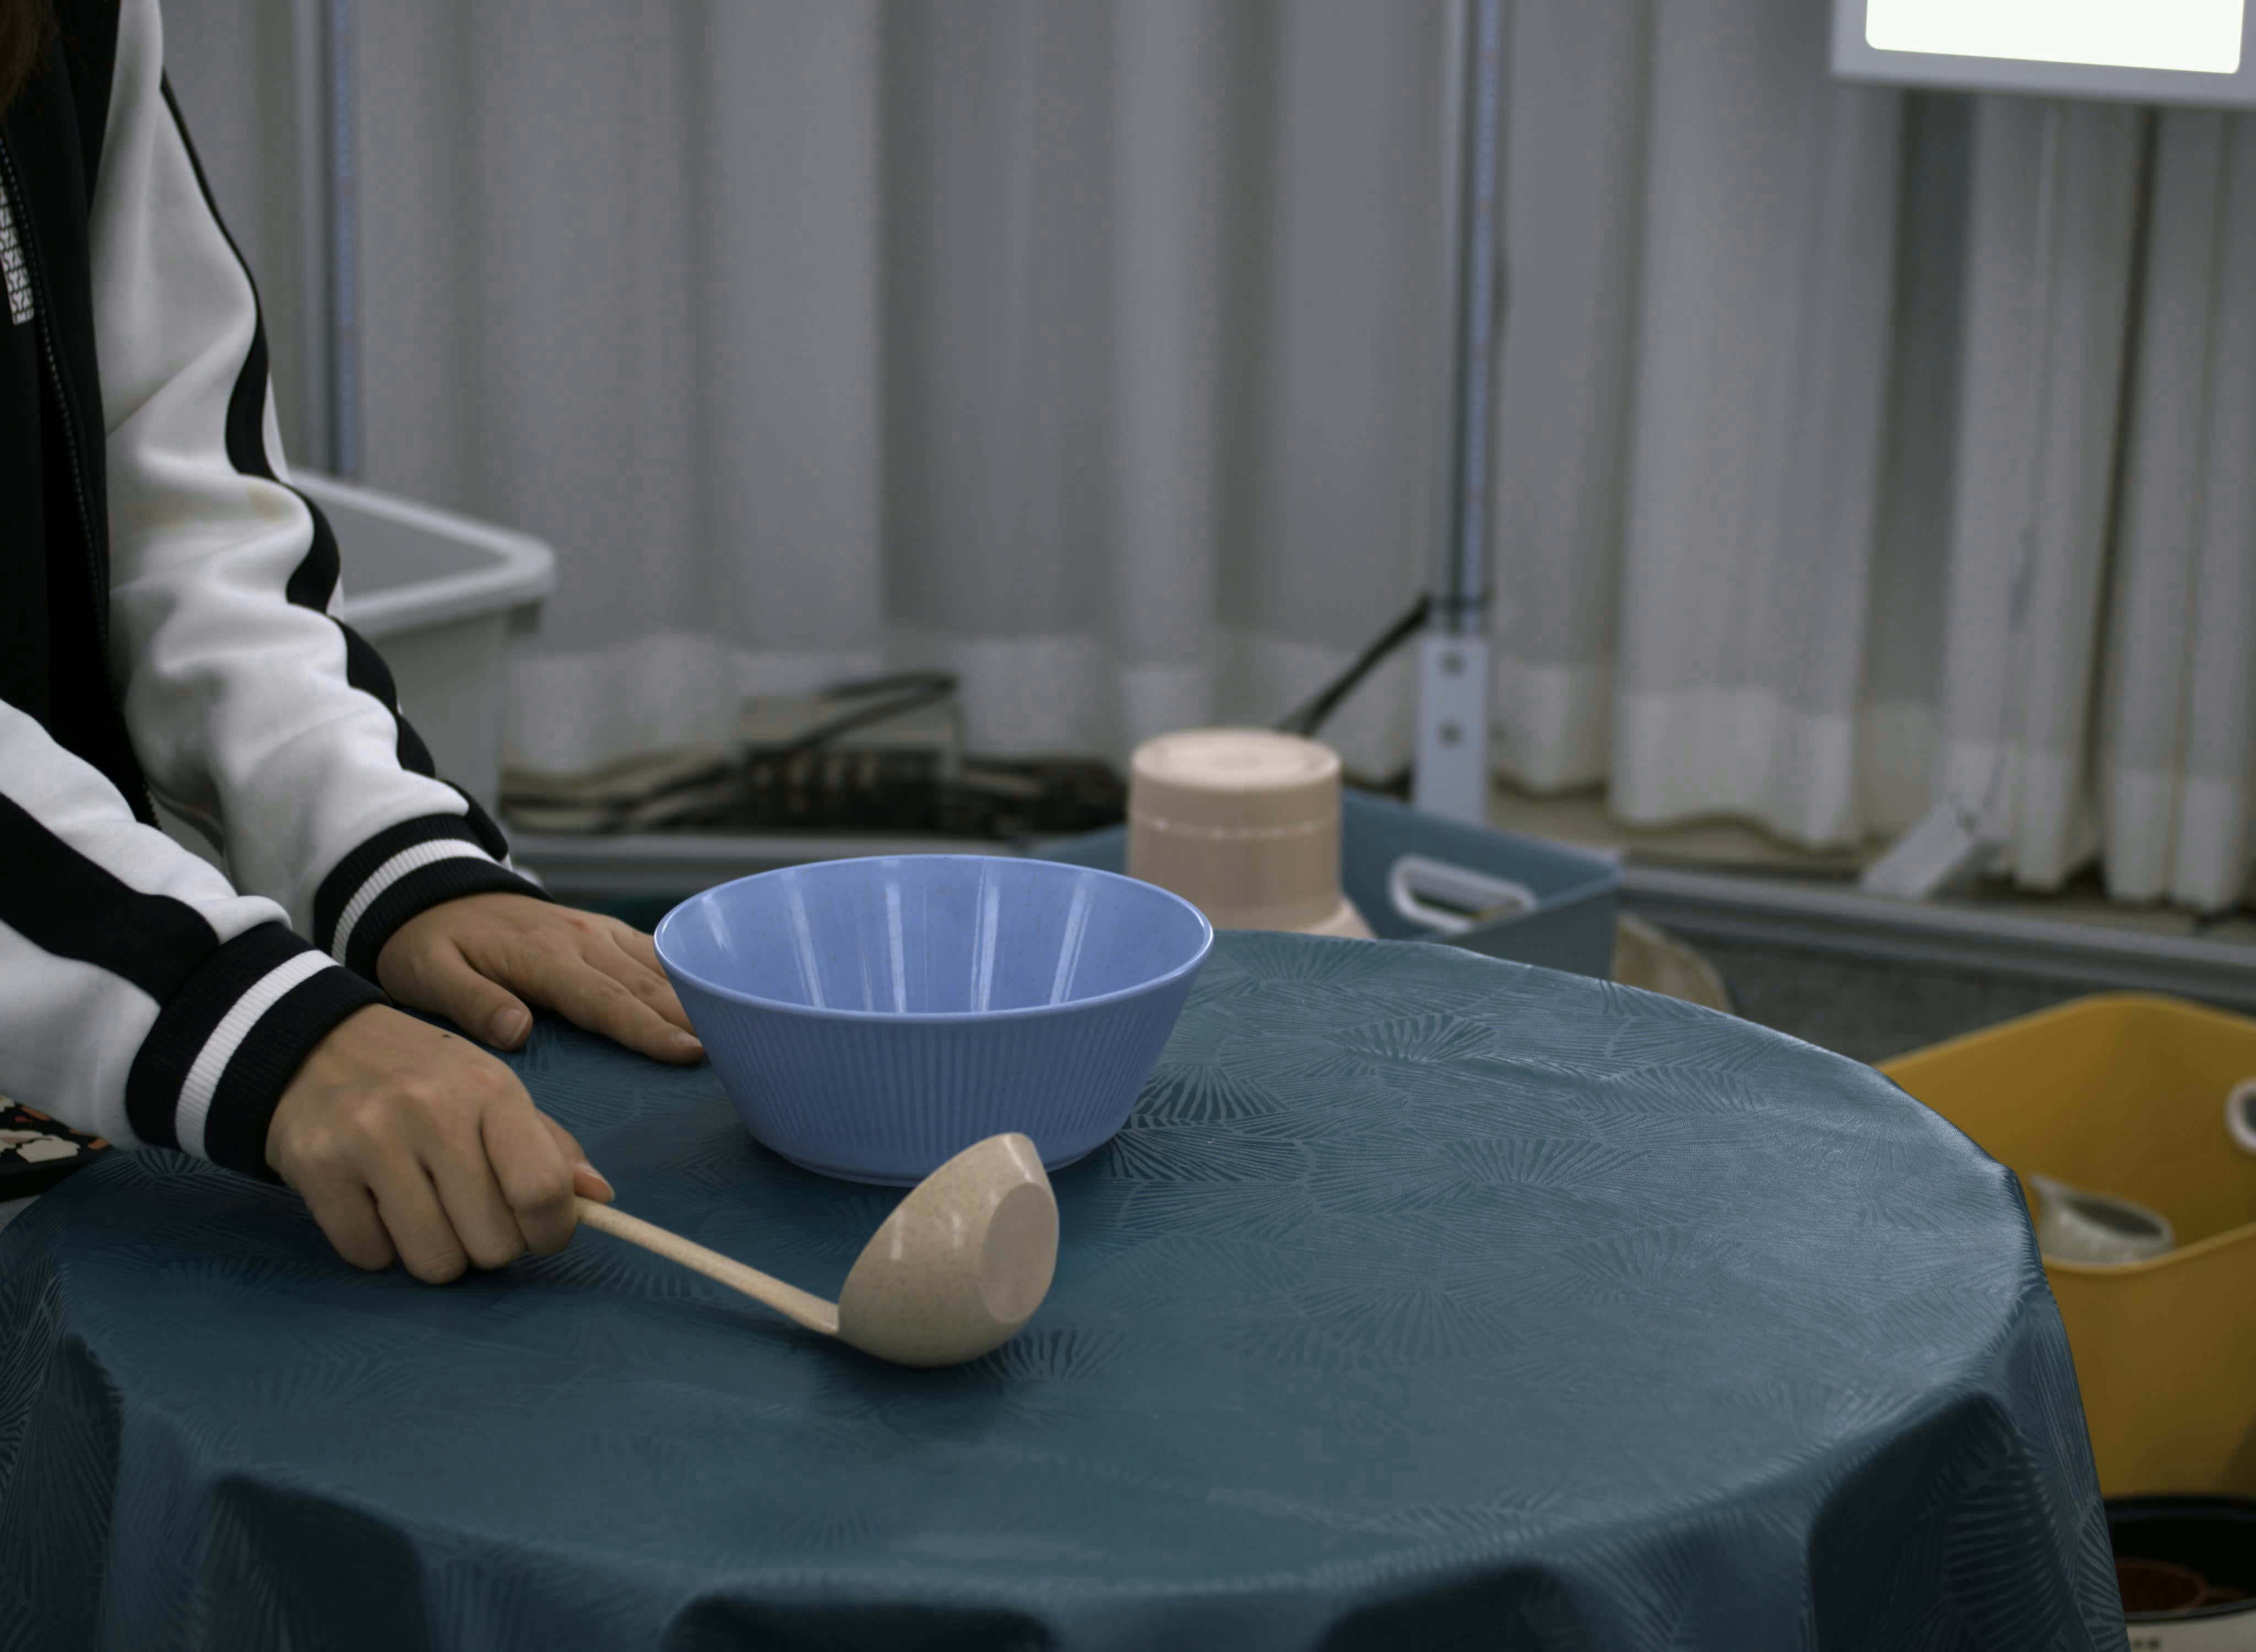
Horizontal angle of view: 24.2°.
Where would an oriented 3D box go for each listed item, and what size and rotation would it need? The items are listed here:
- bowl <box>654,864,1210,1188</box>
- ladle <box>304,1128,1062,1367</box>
[{"bbox_3d":[-0.062,0.065,1.661,0.175,0.071,0.175,1,15,0],"label":"bowl"},{"bbox_3d":[-0.134,0.094,1.517,0.251,0.073,0.072,15,10,29],"label":"ladle"}]
